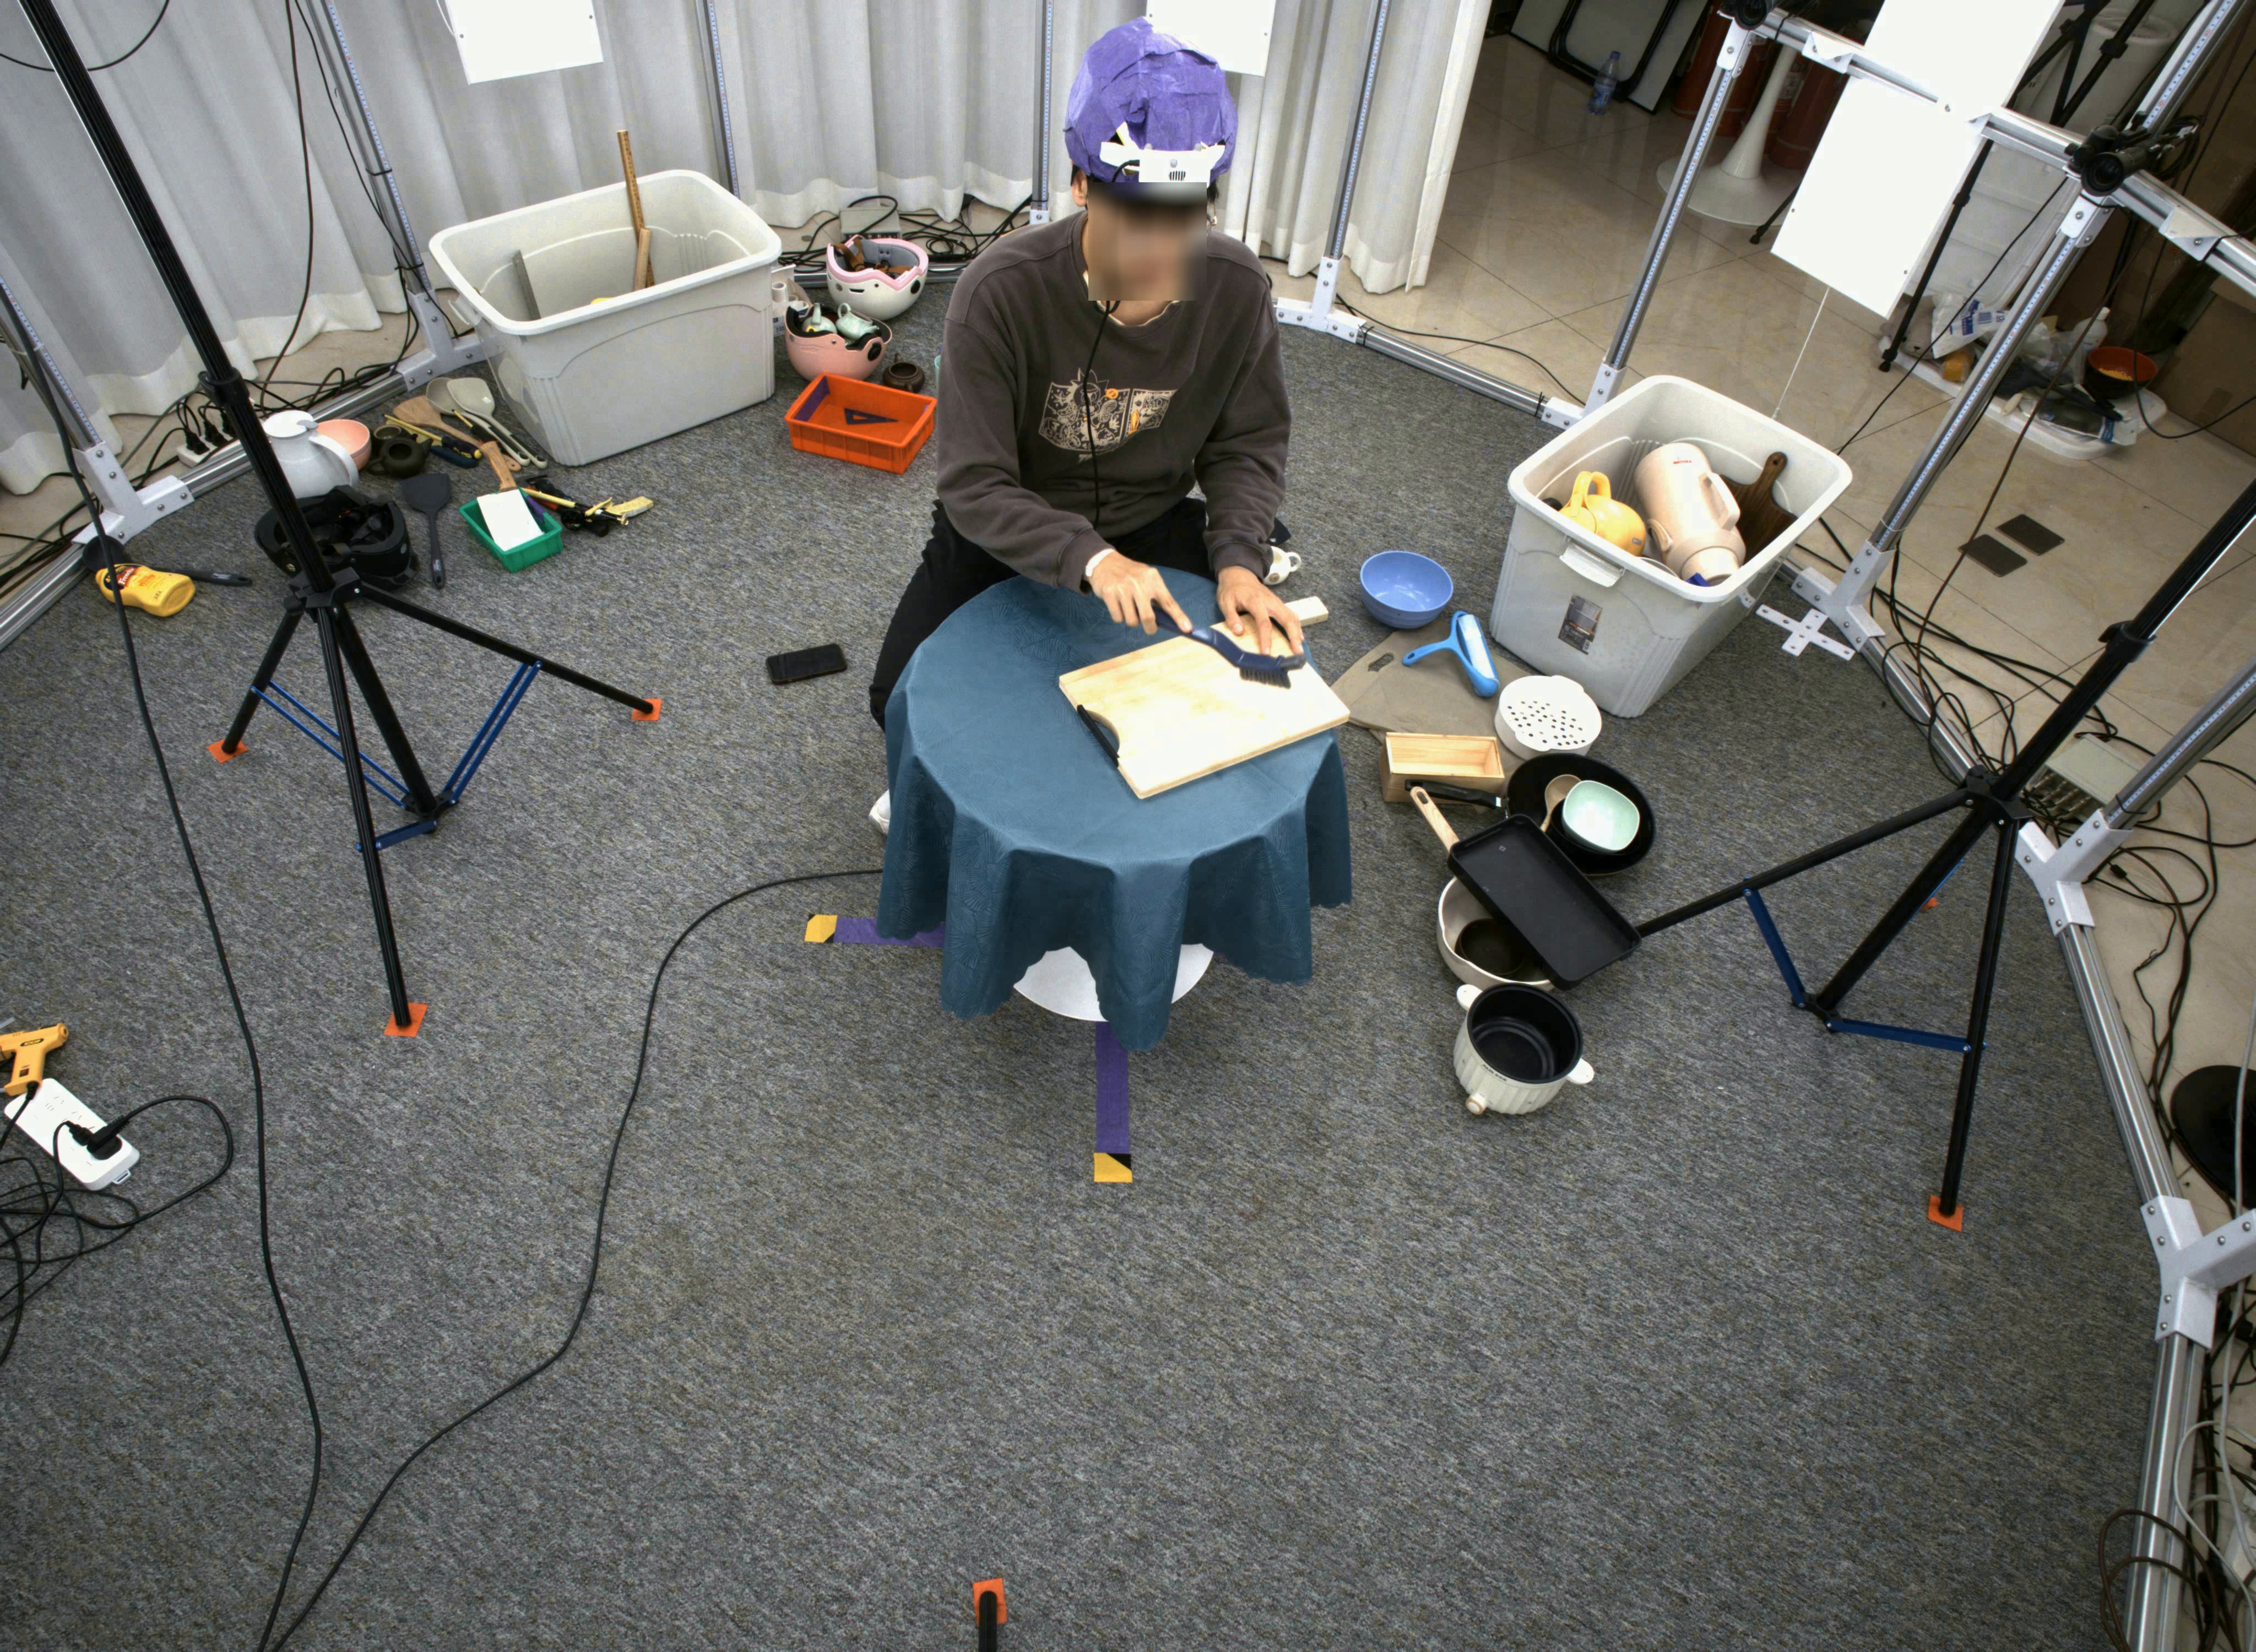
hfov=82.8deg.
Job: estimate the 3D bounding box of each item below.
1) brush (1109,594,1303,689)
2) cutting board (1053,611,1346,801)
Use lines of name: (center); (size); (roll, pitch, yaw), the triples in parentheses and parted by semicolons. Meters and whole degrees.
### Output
brush: (0.102, -0.258, 1.725); (0.274, 0.094, 0.034); (29, 63, 9)
cutting board: (0.102, -0.178, 1.816); (0.349, 0.023, 0.256); (-21, 53, -21)
